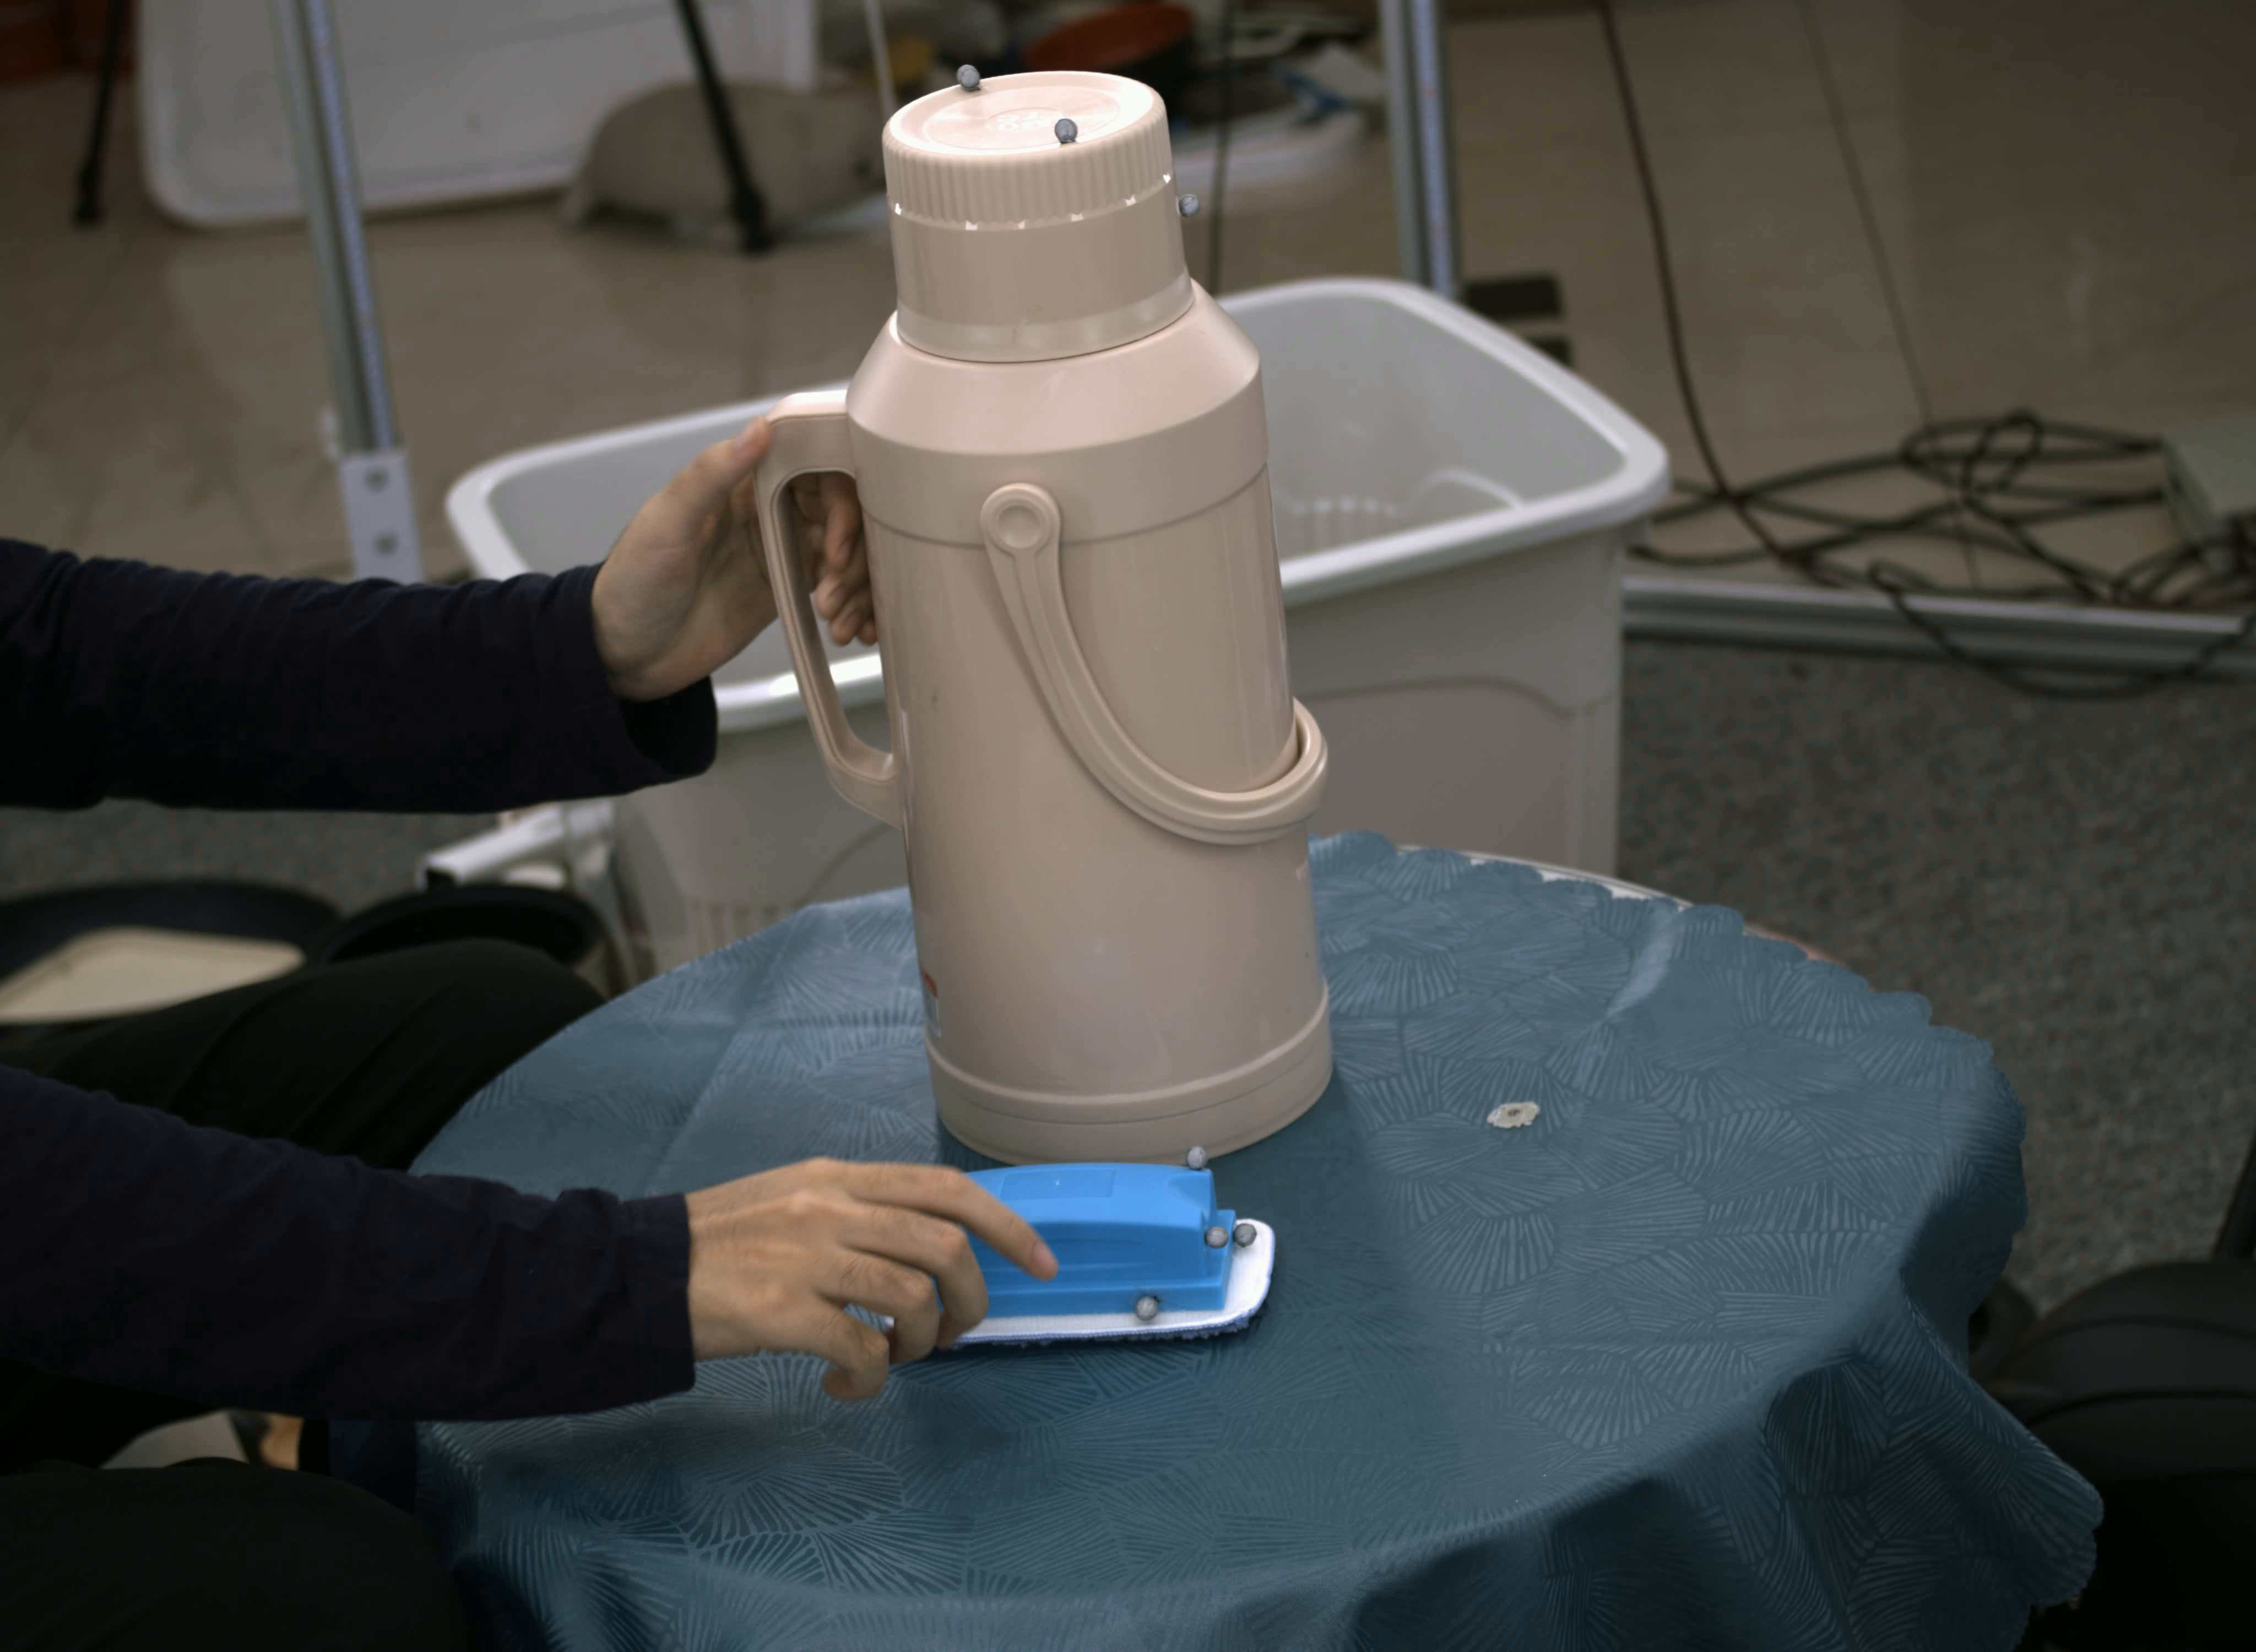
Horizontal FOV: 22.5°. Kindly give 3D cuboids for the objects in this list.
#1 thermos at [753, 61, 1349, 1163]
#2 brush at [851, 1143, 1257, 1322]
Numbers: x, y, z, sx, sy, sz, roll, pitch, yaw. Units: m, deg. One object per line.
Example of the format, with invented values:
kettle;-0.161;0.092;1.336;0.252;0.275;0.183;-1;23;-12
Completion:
thermos;-0.029;-0.081;2.149;0.207;0.413;0.172;-3;28;10
brush;-0.027;0.146;2.064;0.143;0.057;0.083;1;24;10
